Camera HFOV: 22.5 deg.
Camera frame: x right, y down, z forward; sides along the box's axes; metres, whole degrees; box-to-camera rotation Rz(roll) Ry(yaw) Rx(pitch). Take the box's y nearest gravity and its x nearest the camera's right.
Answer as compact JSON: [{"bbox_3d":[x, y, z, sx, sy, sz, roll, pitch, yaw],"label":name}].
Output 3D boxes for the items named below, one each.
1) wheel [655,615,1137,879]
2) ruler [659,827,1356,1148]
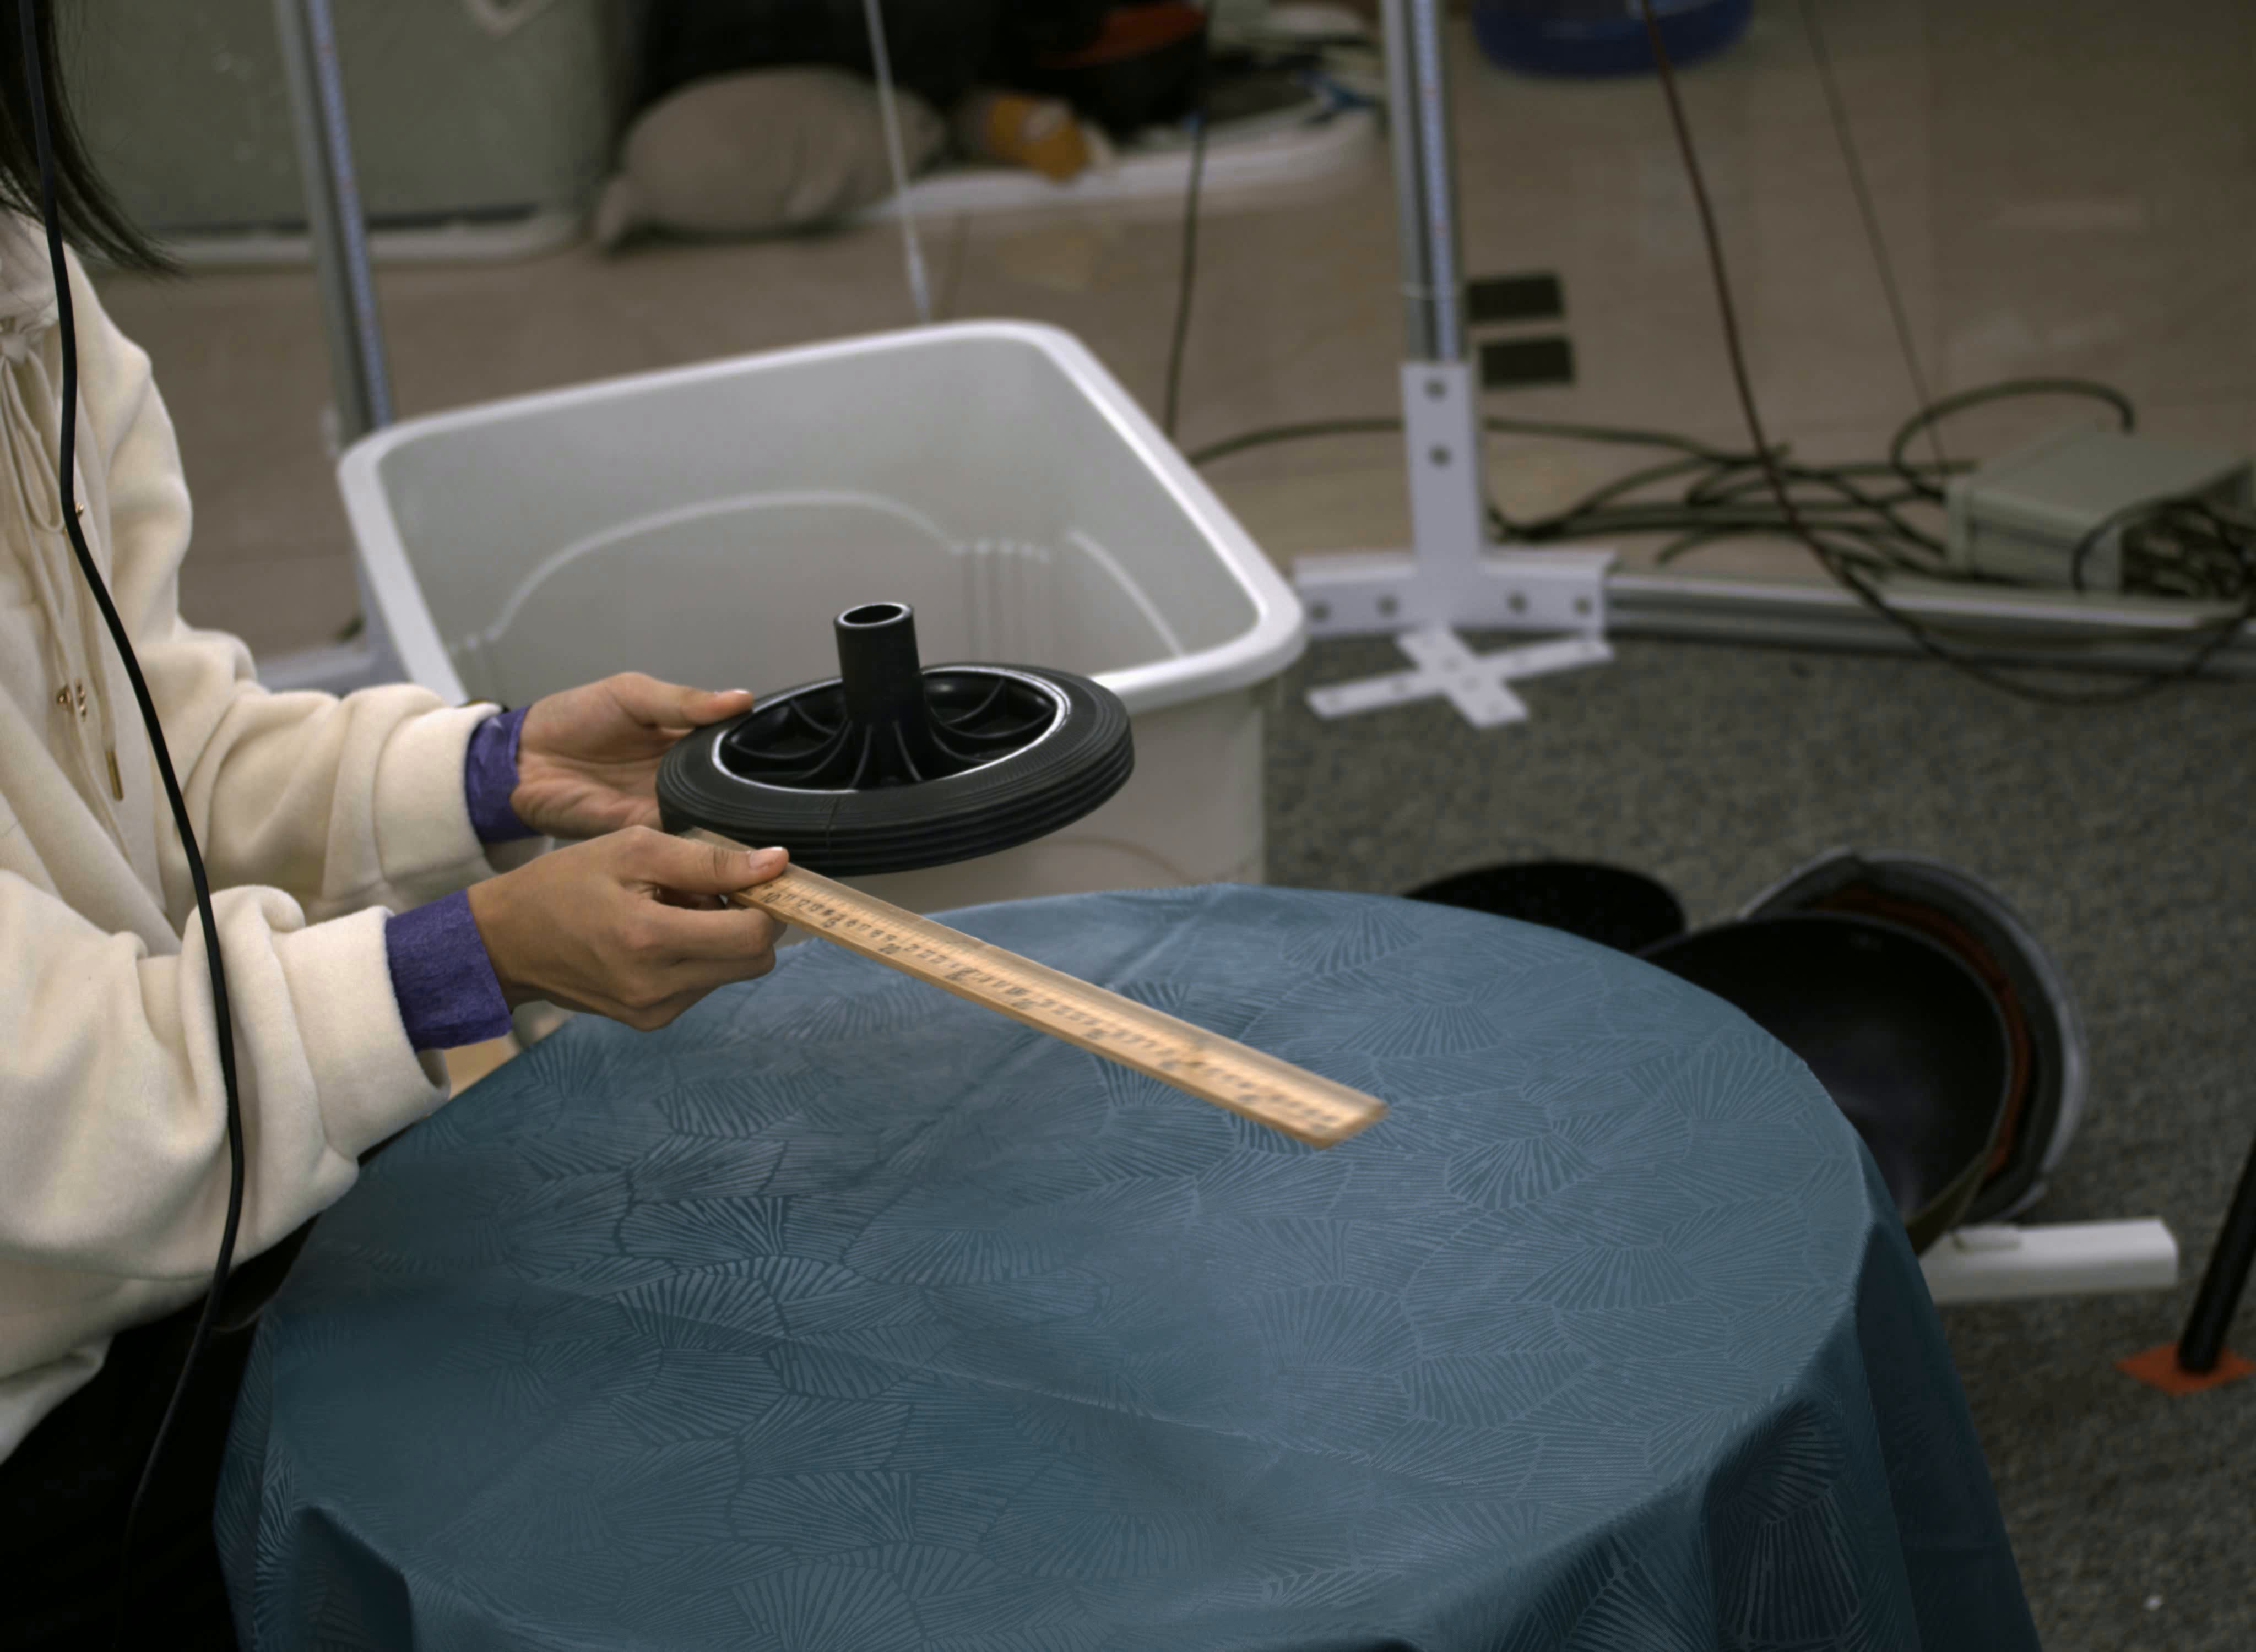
[{"bbox_3d":[-0.093,-0.041,2.204,0.186,0.080,0.188,-23,25,-36],"label":"wheel"},{"bbox_3d":[-0.055,0.049,1.937,0.026,0.006,0.497,-30,22,-20],"label":"ruler"}]
